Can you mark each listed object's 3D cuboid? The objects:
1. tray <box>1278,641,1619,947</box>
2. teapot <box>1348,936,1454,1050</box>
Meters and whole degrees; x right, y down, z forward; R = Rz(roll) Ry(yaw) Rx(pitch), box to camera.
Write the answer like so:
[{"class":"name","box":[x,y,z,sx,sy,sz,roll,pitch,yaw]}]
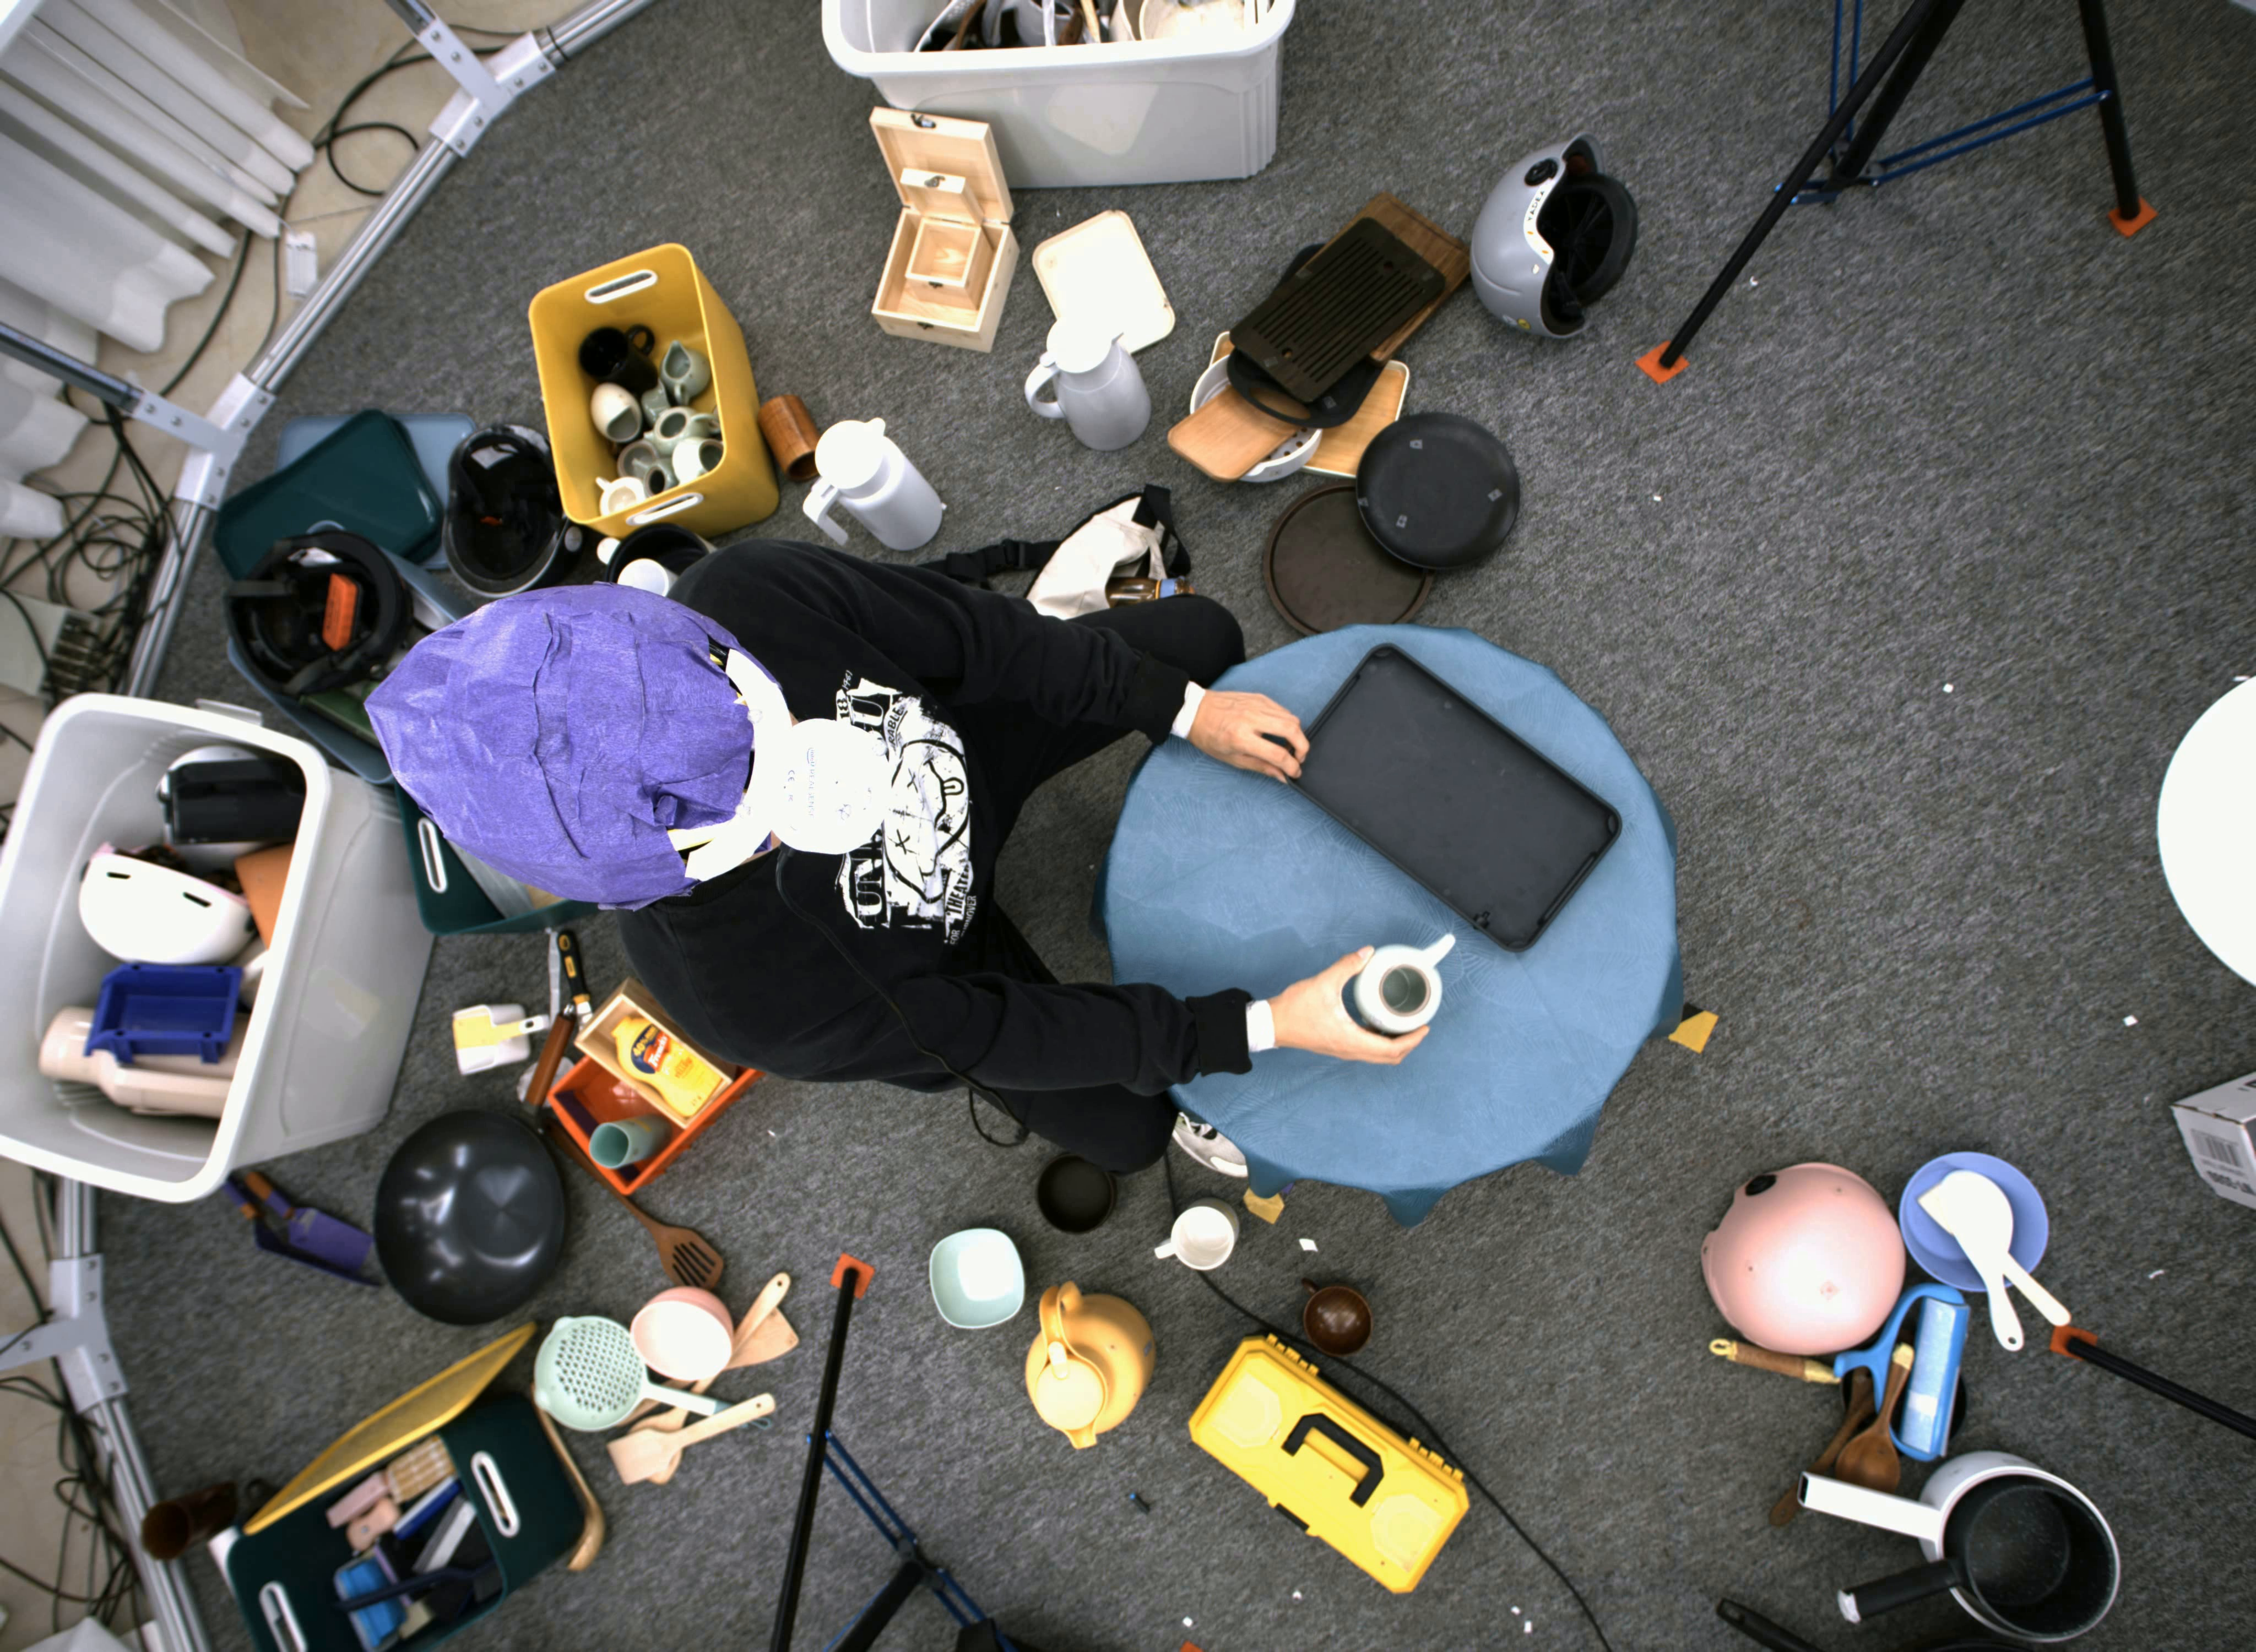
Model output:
[{"class":"tray","box":[0.330,-0.036,1.427,0.317,0.037,0.185,36,95,6]},{"class":"teapot","box":[0.265,0.162,1.370,0.088,0.075,0.143,44,85,-1]}]
